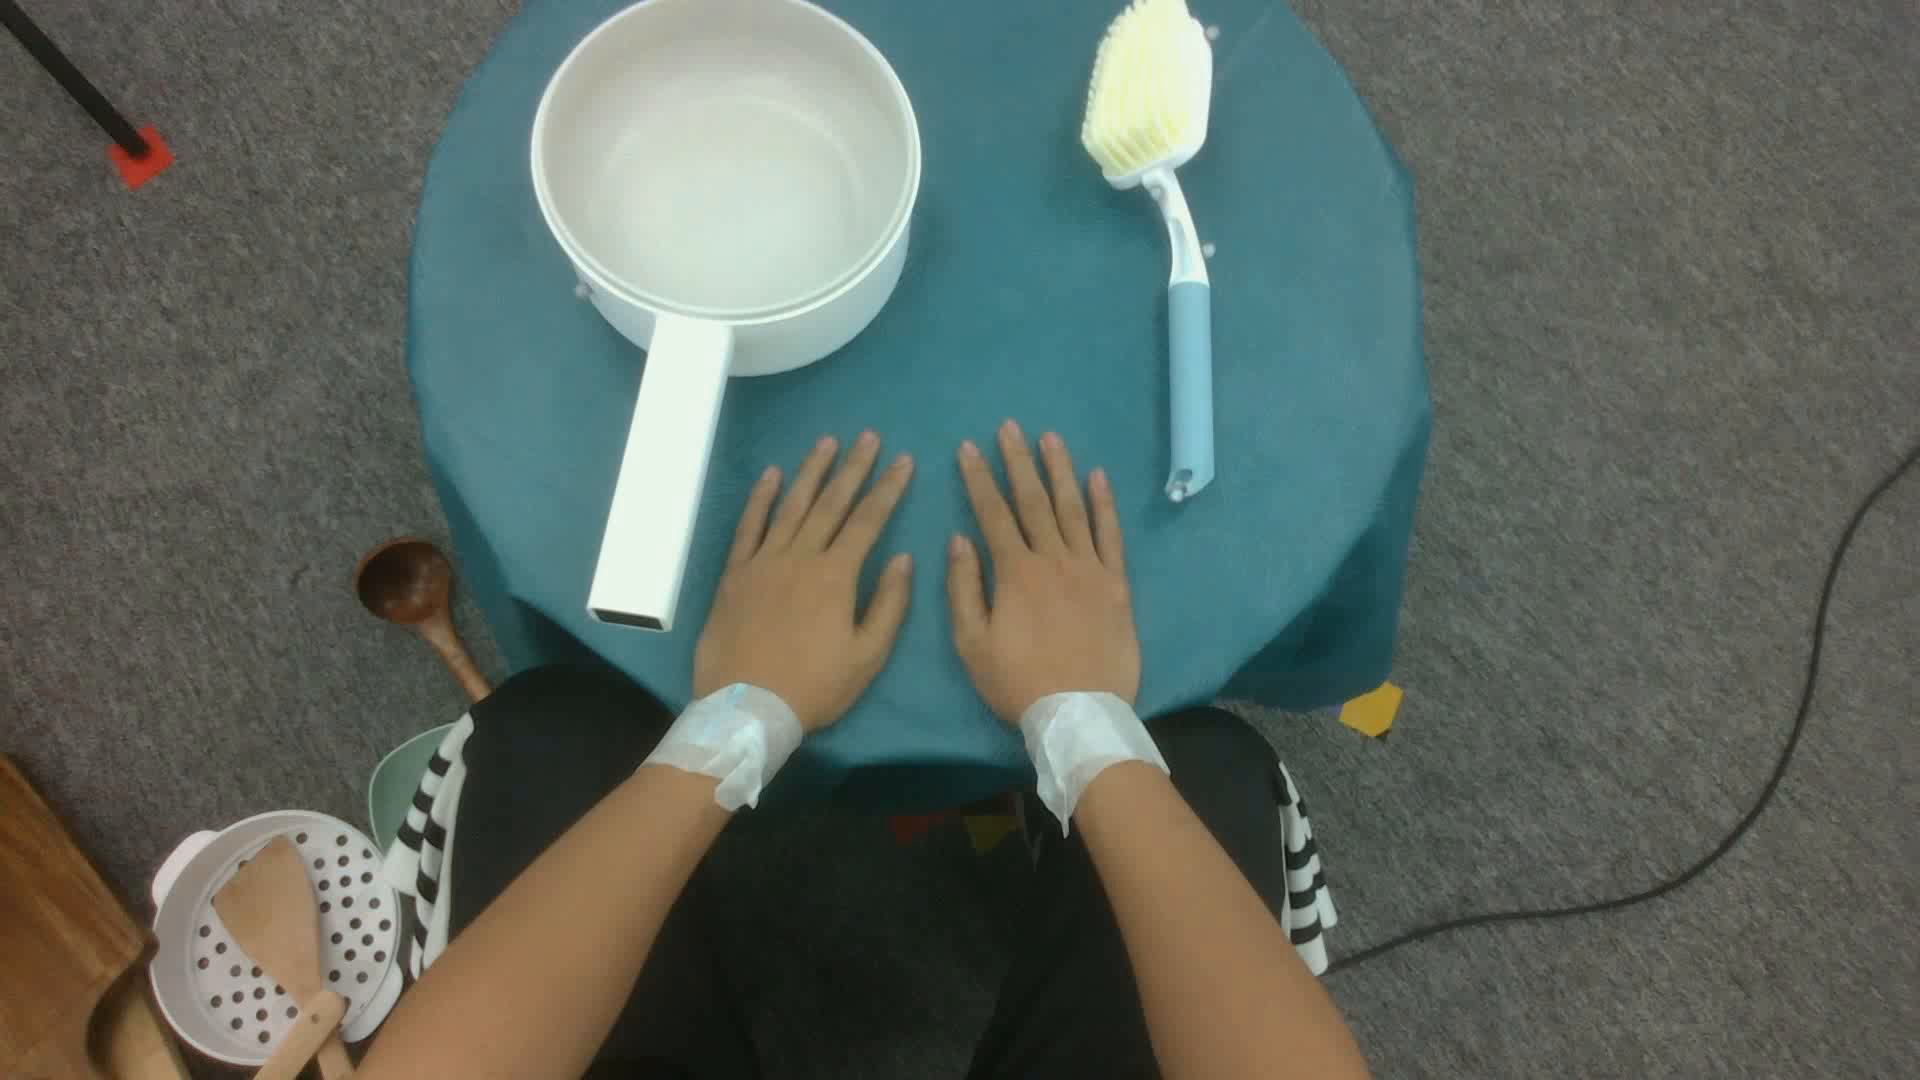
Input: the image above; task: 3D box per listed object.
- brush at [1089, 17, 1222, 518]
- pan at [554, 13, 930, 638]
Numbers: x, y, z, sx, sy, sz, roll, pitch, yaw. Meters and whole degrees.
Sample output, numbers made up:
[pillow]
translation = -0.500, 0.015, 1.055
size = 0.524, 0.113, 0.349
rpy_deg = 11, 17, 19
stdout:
[brush]
translation = 0.118, -0.174, 0.805
size = 0.084, 0.083, 0.326
rpy_deg = 5, 70, -8
[pan]
translation = -0.130, -0.114, 0.761
size = 0.201, 0.102, 0.356
rpy_deg = 9, 72, -1
